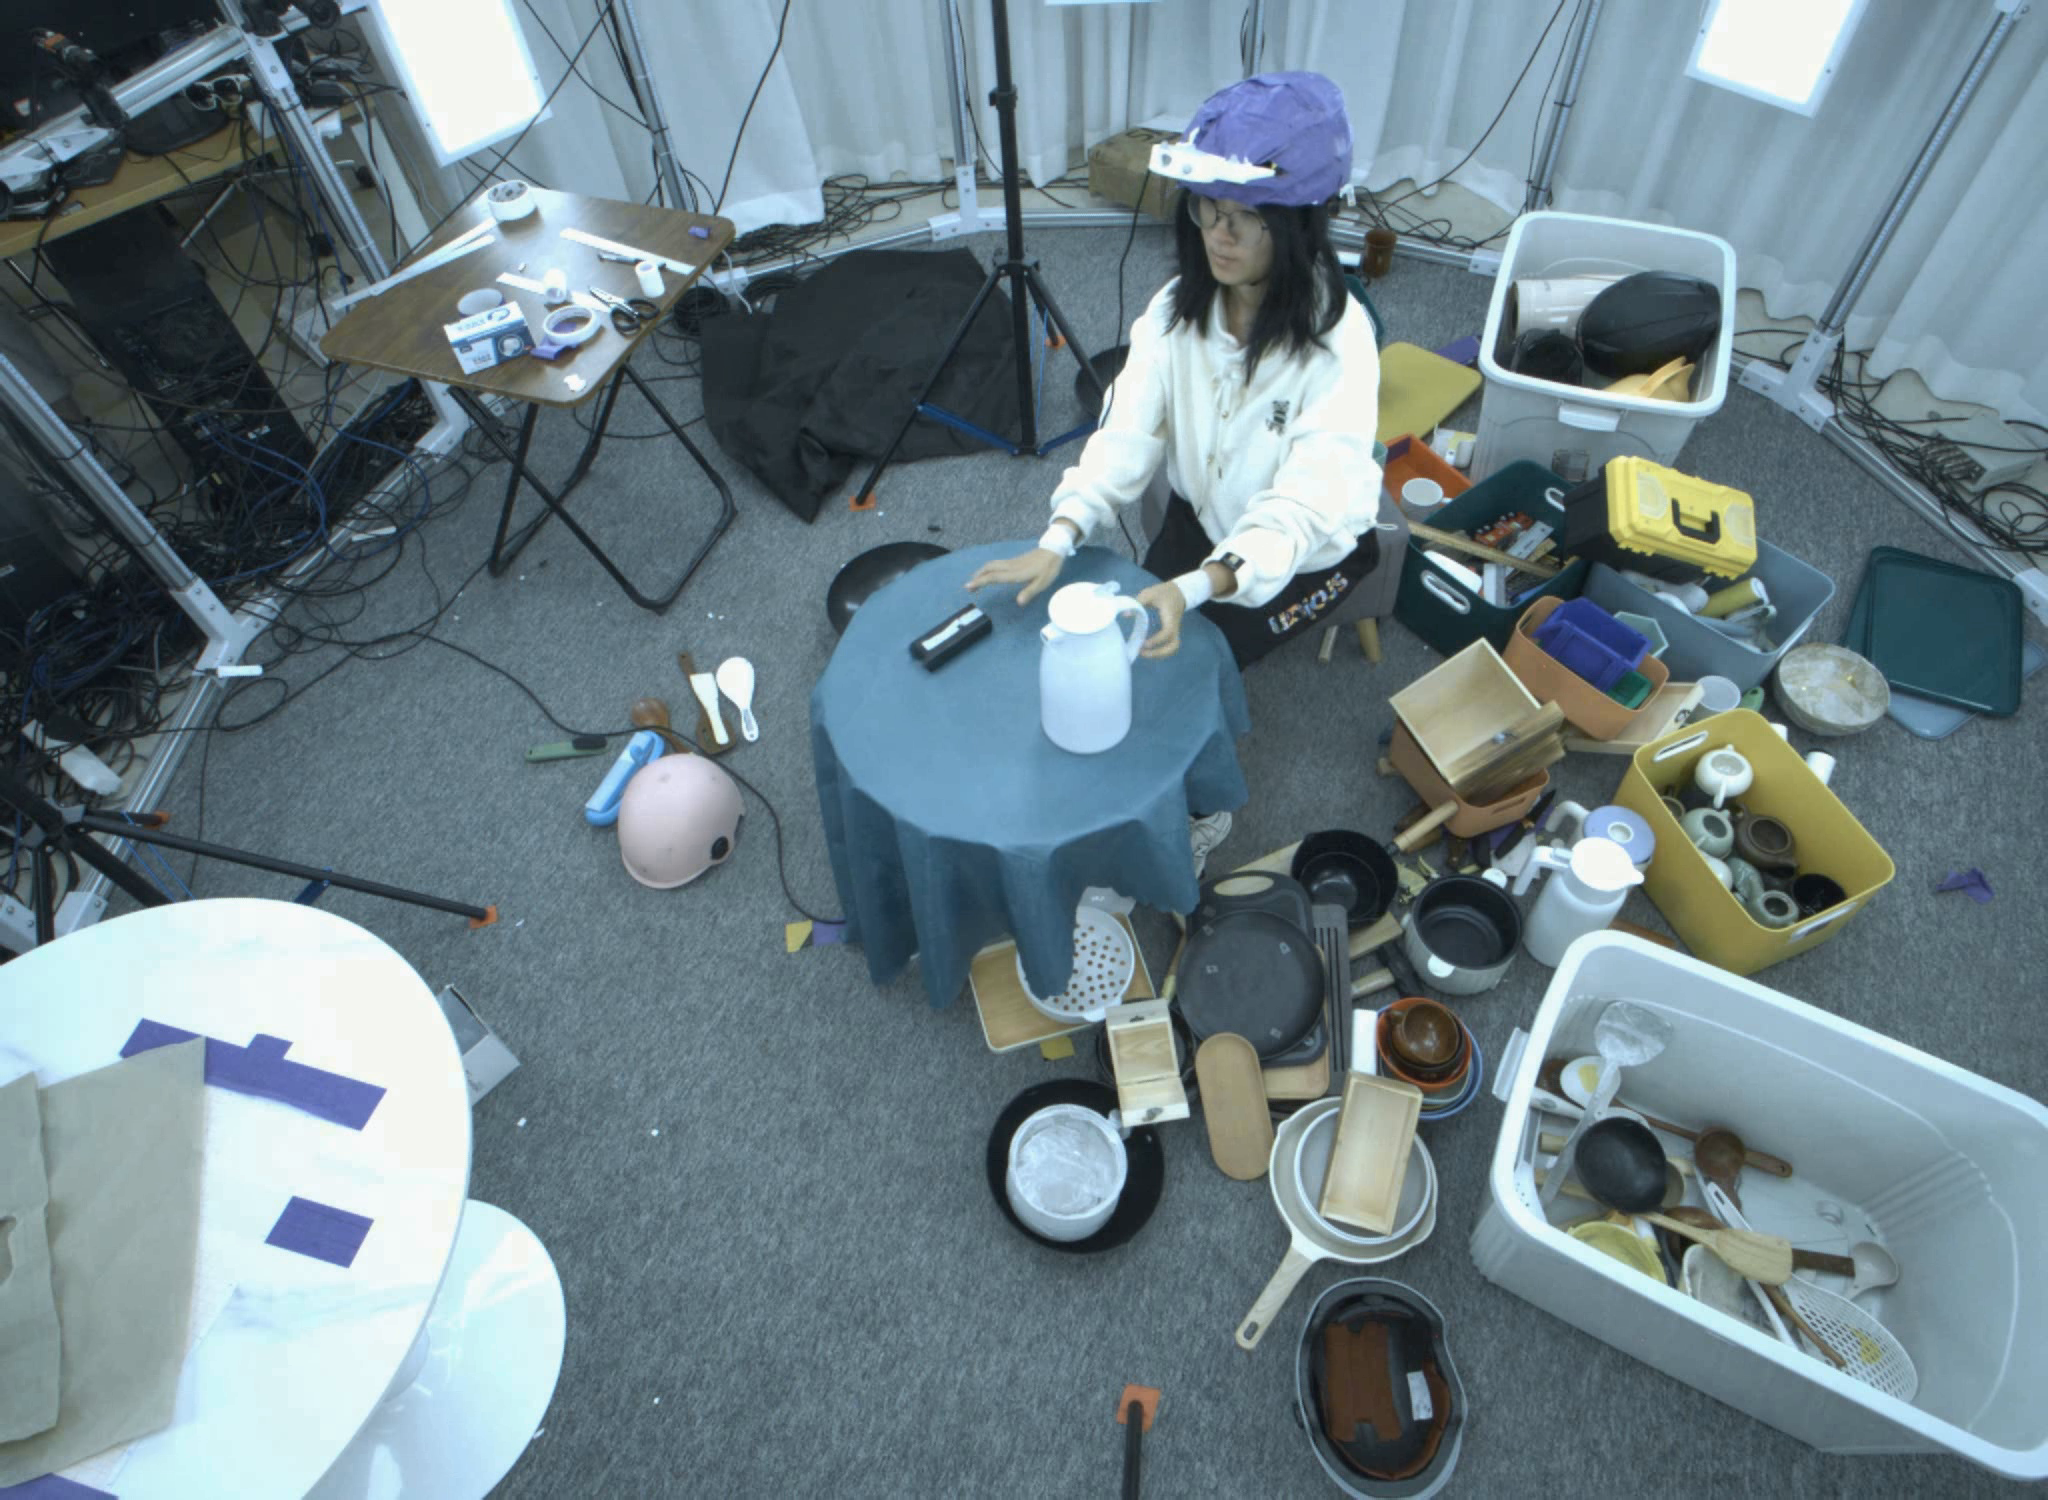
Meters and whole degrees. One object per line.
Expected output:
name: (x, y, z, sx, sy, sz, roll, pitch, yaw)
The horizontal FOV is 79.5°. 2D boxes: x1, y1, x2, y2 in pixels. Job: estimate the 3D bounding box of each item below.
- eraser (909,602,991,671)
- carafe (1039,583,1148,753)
eraser: (-0.114, -0.177, 1.899, 0.126, 0.031, 0.052, -38, 64, -22)
carafe: (0.100, -0.130, 1.723, 0.169, 0.251, 0.130, -31, 58, -18)
